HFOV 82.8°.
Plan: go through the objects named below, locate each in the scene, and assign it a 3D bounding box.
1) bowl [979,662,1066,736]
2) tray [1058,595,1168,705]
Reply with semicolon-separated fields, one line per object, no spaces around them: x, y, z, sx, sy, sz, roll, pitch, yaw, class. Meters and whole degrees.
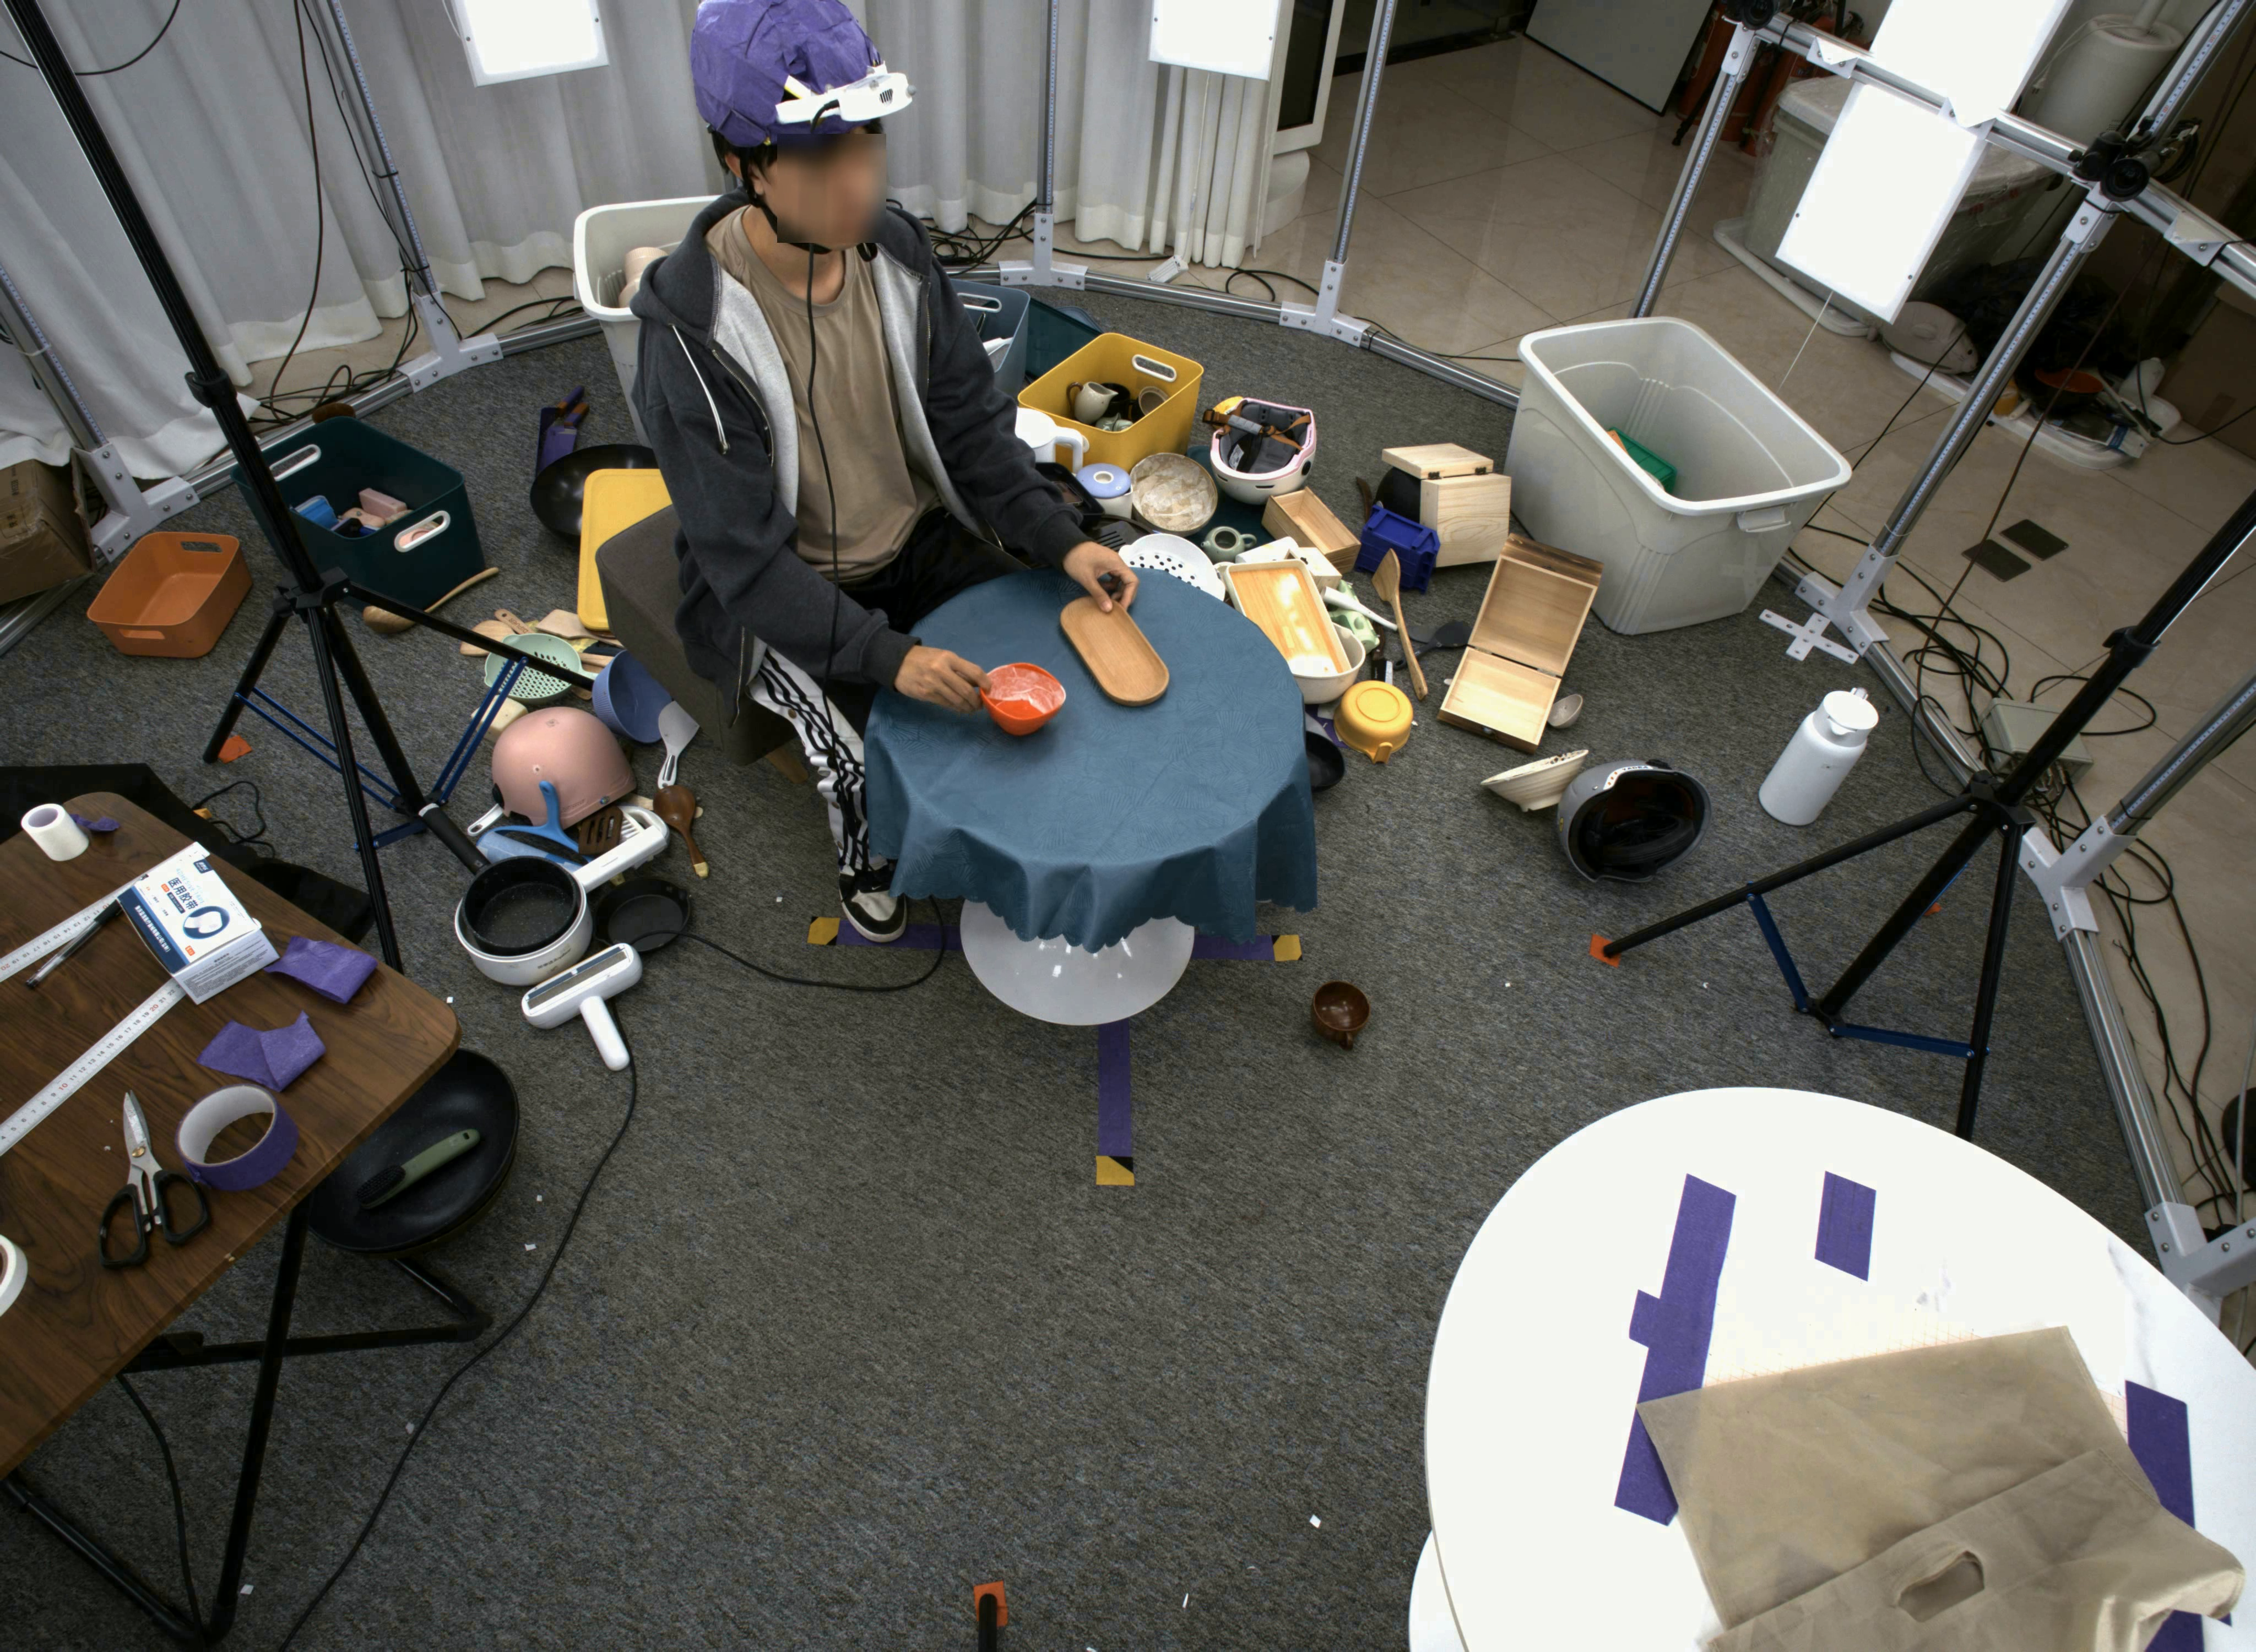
-0.147;-0.168;1.757;0.118;0.050;0.122;6;46;-7;bowl
-0.023;-0.259;1.878;0.102;0.020;0.236;-21;52;-18;tray
